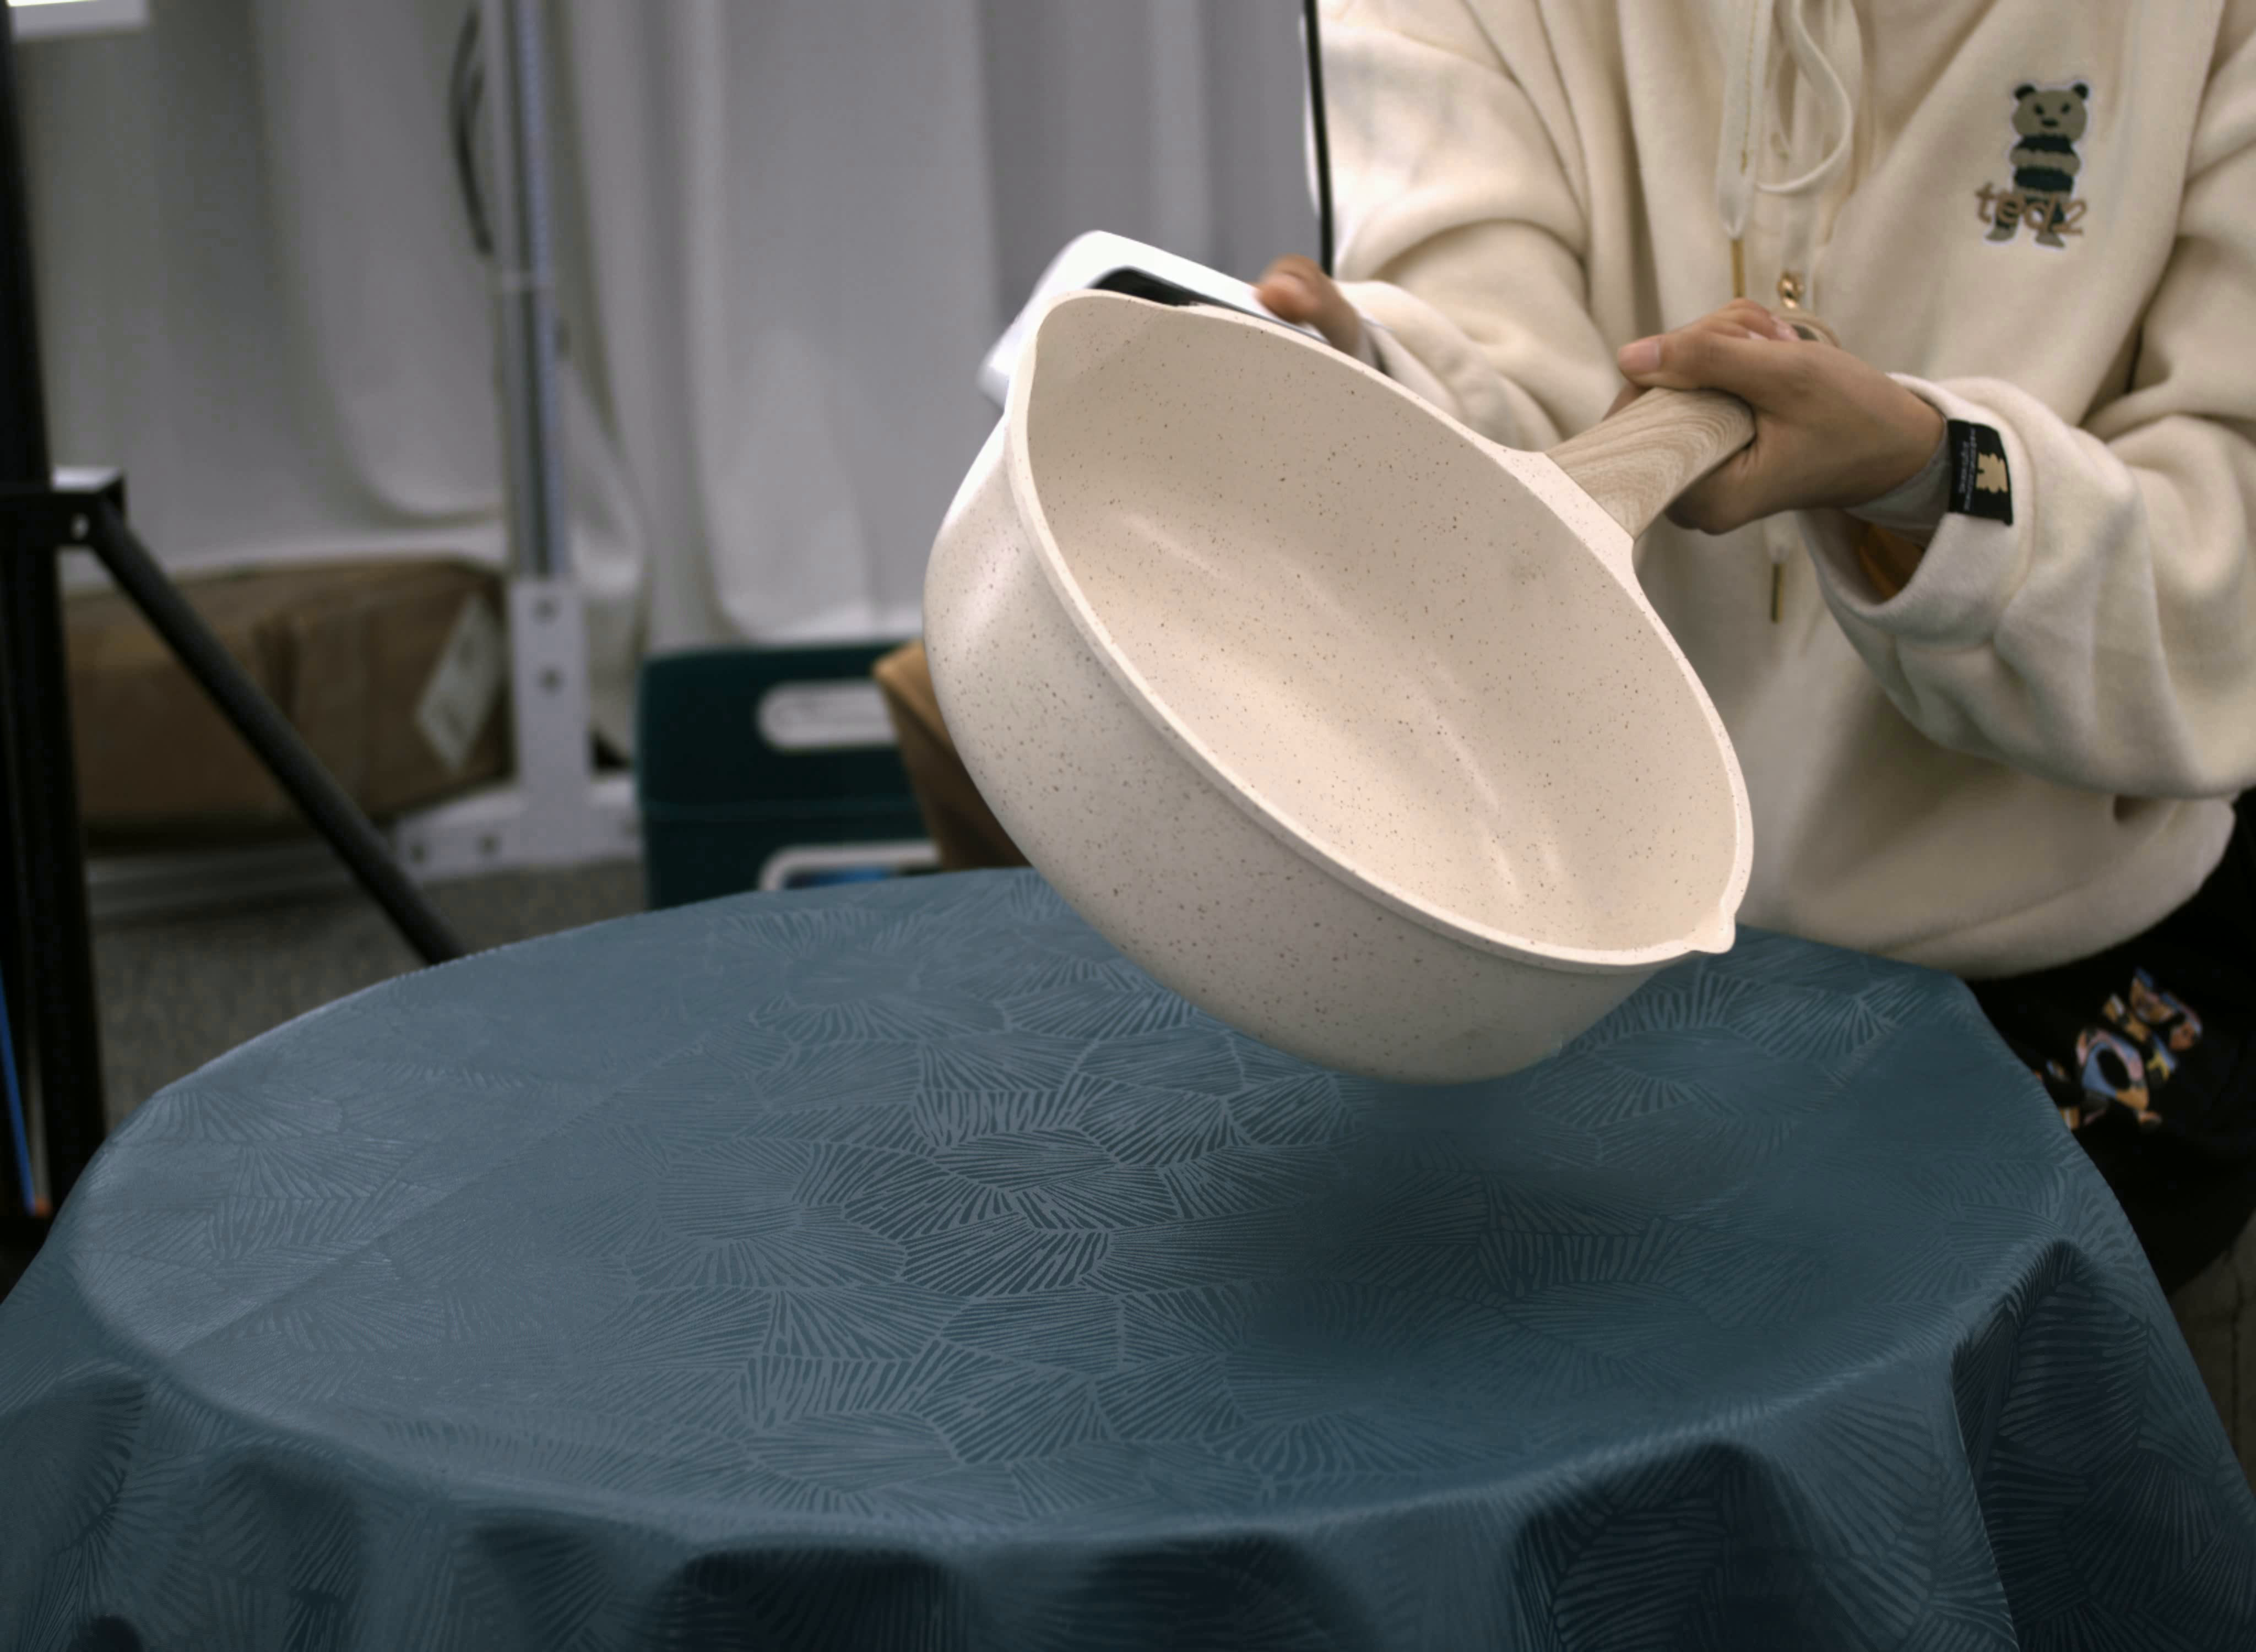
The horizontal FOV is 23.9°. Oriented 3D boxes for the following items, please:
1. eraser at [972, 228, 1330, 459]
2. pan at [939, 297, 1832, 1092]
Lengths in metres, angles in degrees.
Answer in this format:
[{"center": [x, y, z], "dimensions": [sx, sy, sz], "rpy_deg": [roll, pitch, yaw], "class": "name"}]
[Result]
[{"center": [0.009, -0.137, 1.576], "dimensions": [0.035, 0.064, 0.128], "rpy_deg": [49, 20, 29], "class": "eraser"}, {"center": [0.102, -0.062, 1.562], "dimensions": [0.265, 0.103, 0.428], "rpy_deg": [42, 32, 9], "class": "pan"}]
